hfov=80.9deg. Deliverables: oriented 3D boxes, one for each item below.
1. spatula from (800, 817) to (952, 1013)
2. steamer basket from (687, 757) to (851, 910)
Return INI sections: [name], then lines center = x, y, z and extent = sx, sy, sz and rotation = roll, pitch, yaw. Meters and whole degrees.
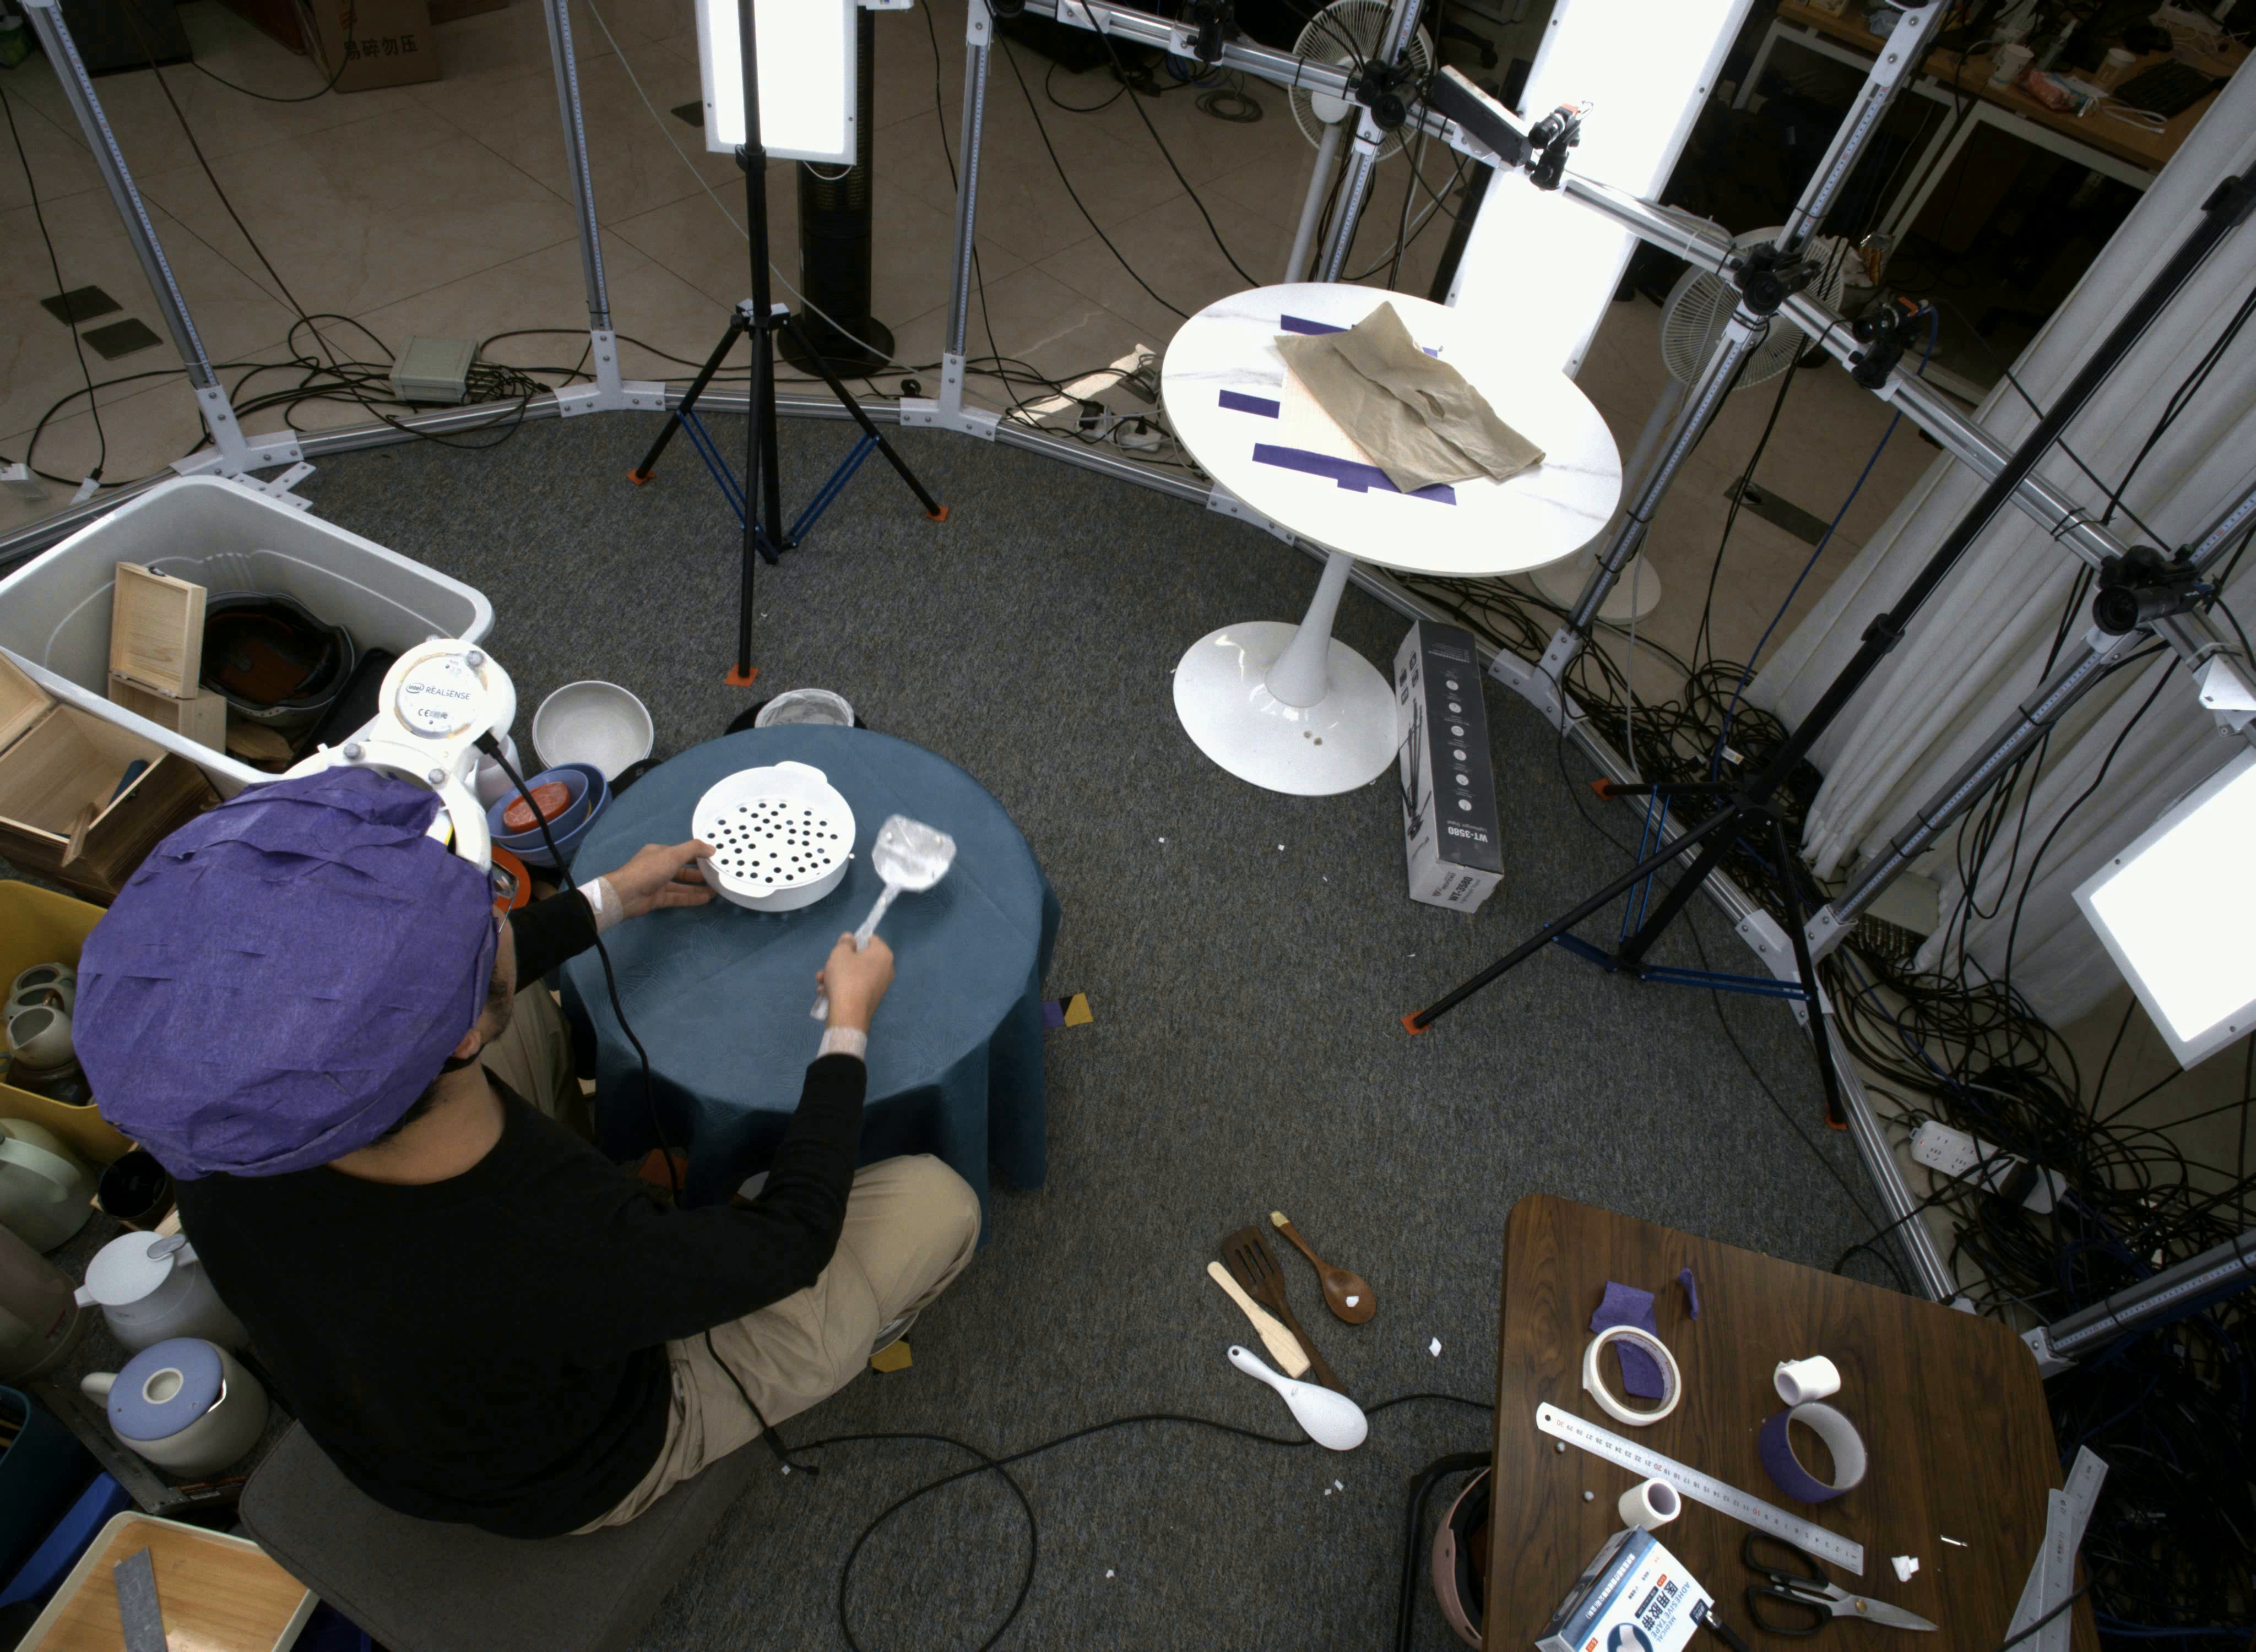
[spatula]
center = -0.304, 0.102, 1.539
extent = 0.099, 0.045, 0.360
rotation = 28, 29, -5
[steamer basket]
center = -0.456, 0.013, 1.649
extent = 0.201, 0.070, 0.227
rotation = 17, 48, -4
